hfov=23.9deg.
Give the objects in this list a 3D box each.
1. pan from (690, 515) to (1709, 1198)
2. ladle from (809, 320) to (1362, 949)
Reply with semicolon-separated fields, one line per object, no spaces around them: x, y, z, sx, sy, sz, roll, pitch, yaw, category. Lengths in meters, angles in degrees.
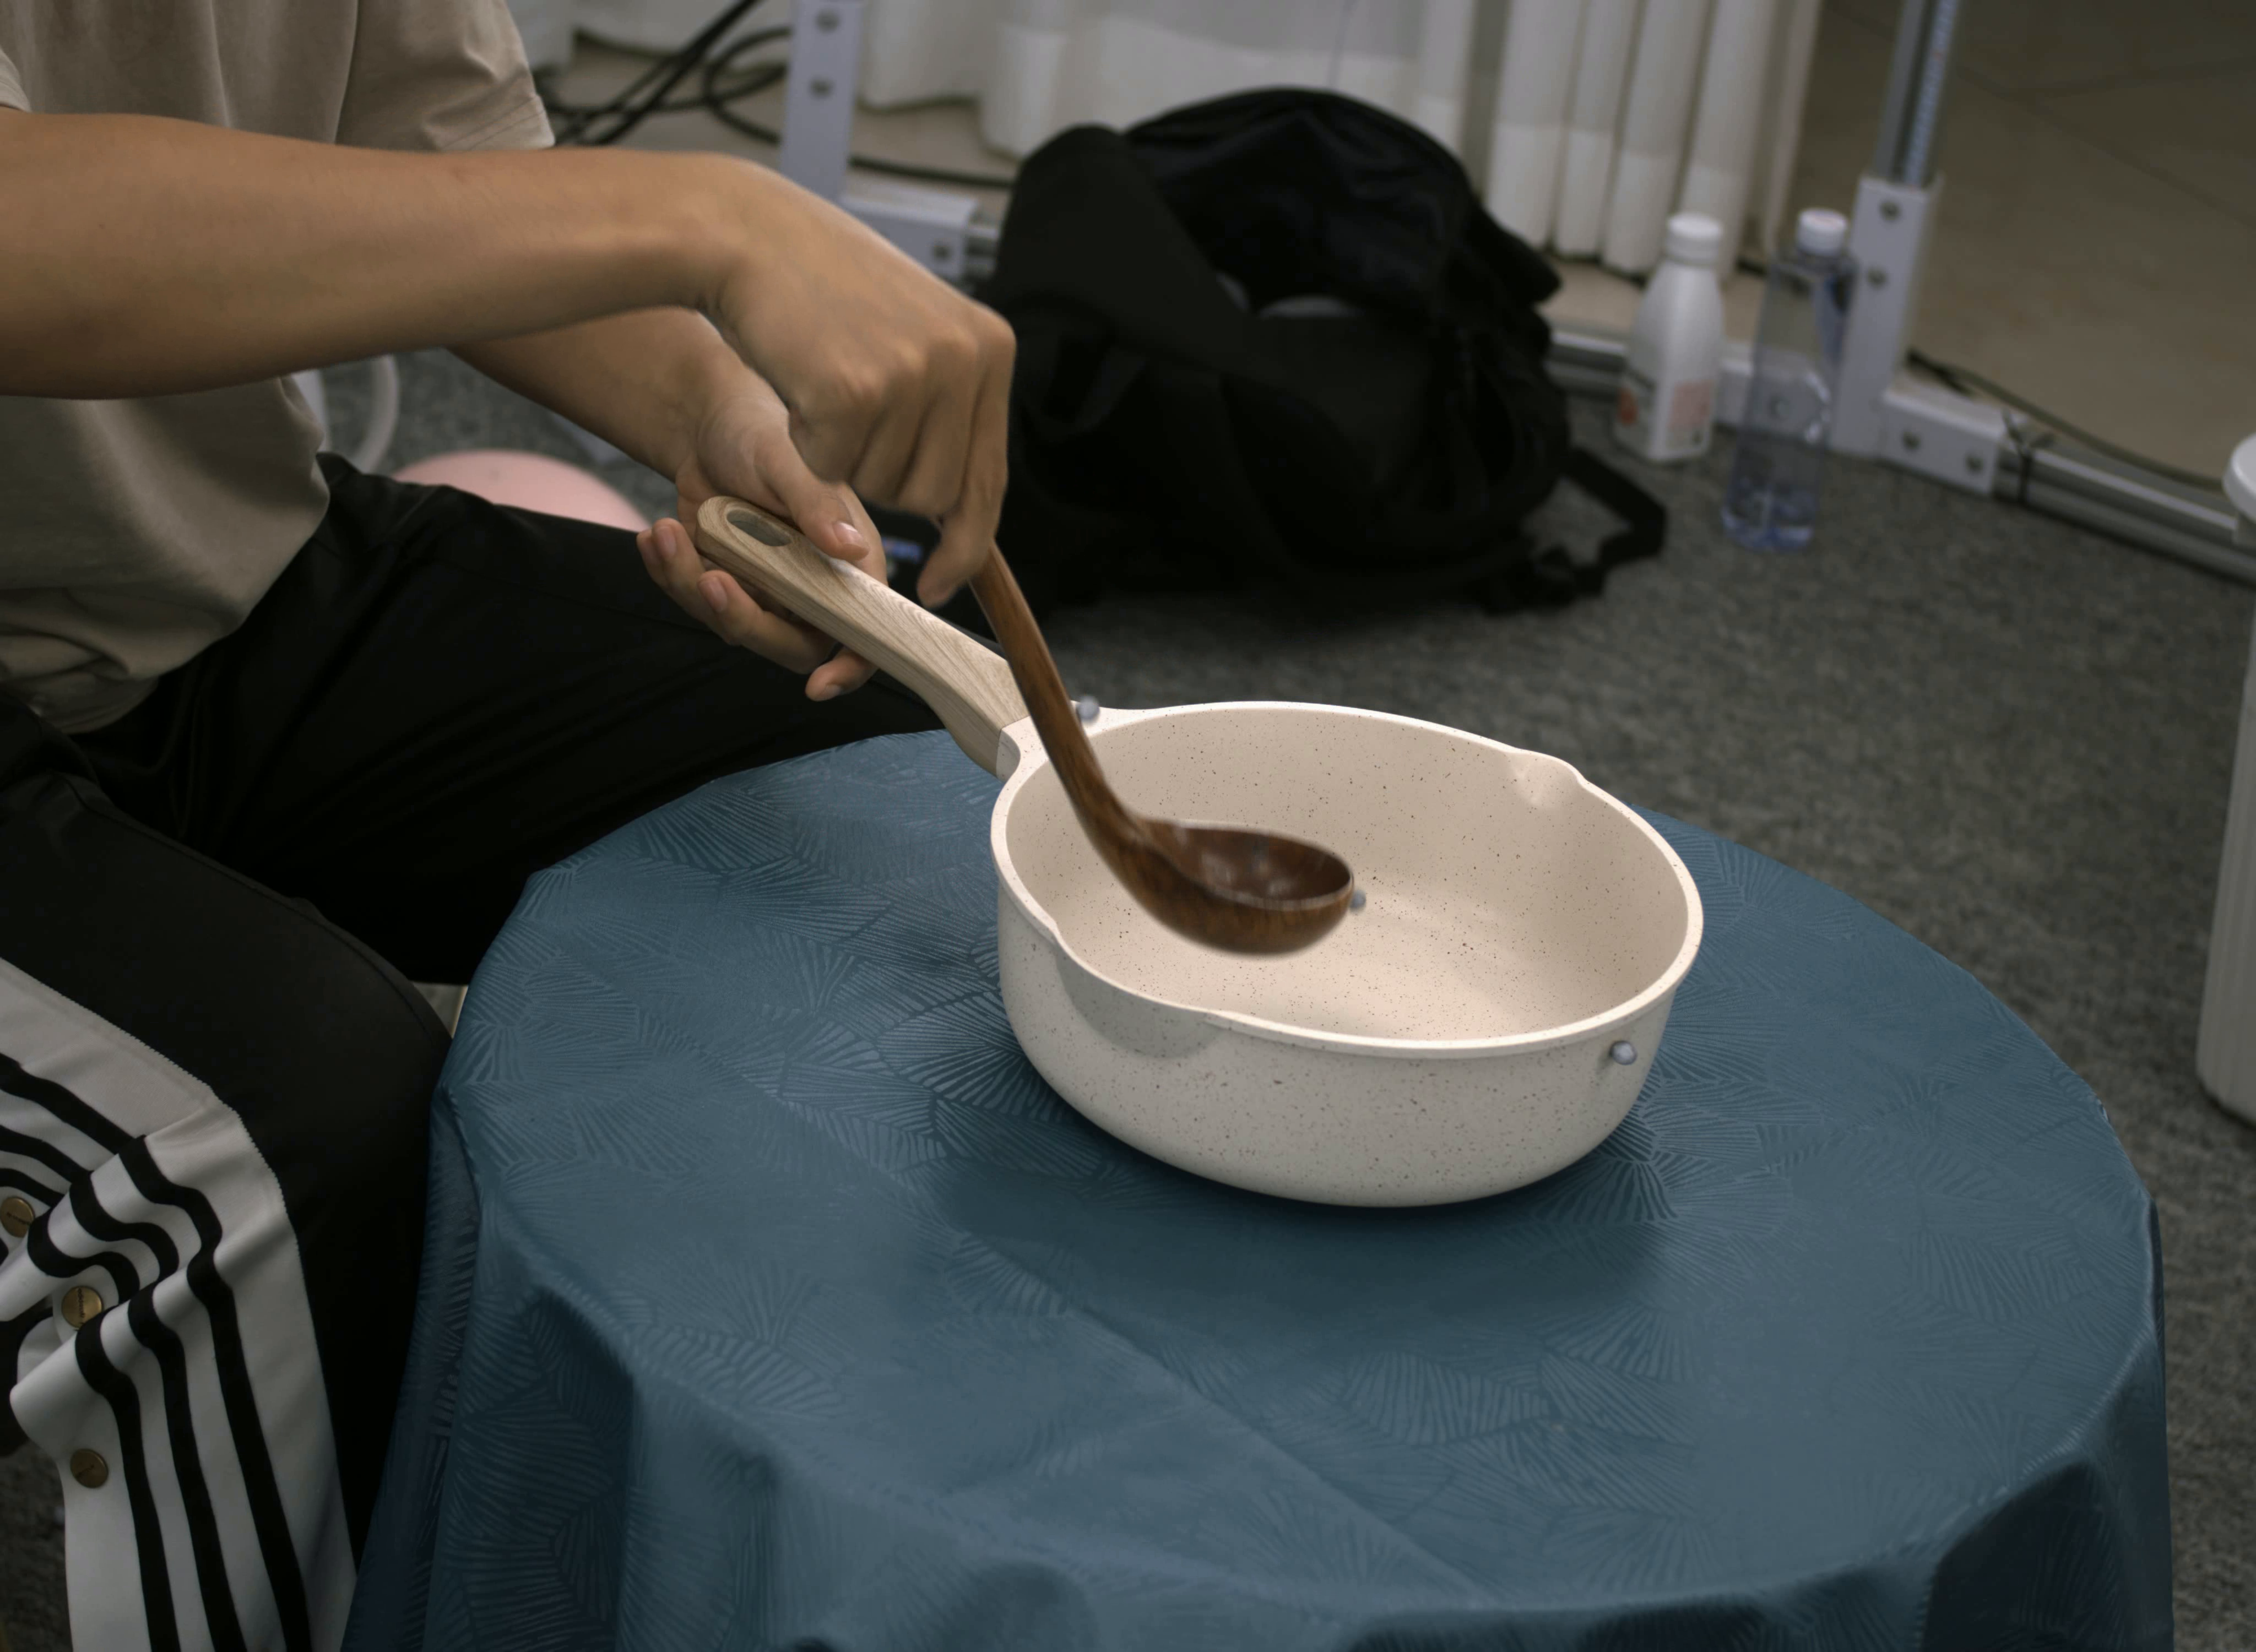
0.005;0.006;1.926;0.438;0.101;0.262;25;34;32;pan
-0.009;-0.068;1.782;0.076;0.272;0.082;-32;22;-7;ladle
